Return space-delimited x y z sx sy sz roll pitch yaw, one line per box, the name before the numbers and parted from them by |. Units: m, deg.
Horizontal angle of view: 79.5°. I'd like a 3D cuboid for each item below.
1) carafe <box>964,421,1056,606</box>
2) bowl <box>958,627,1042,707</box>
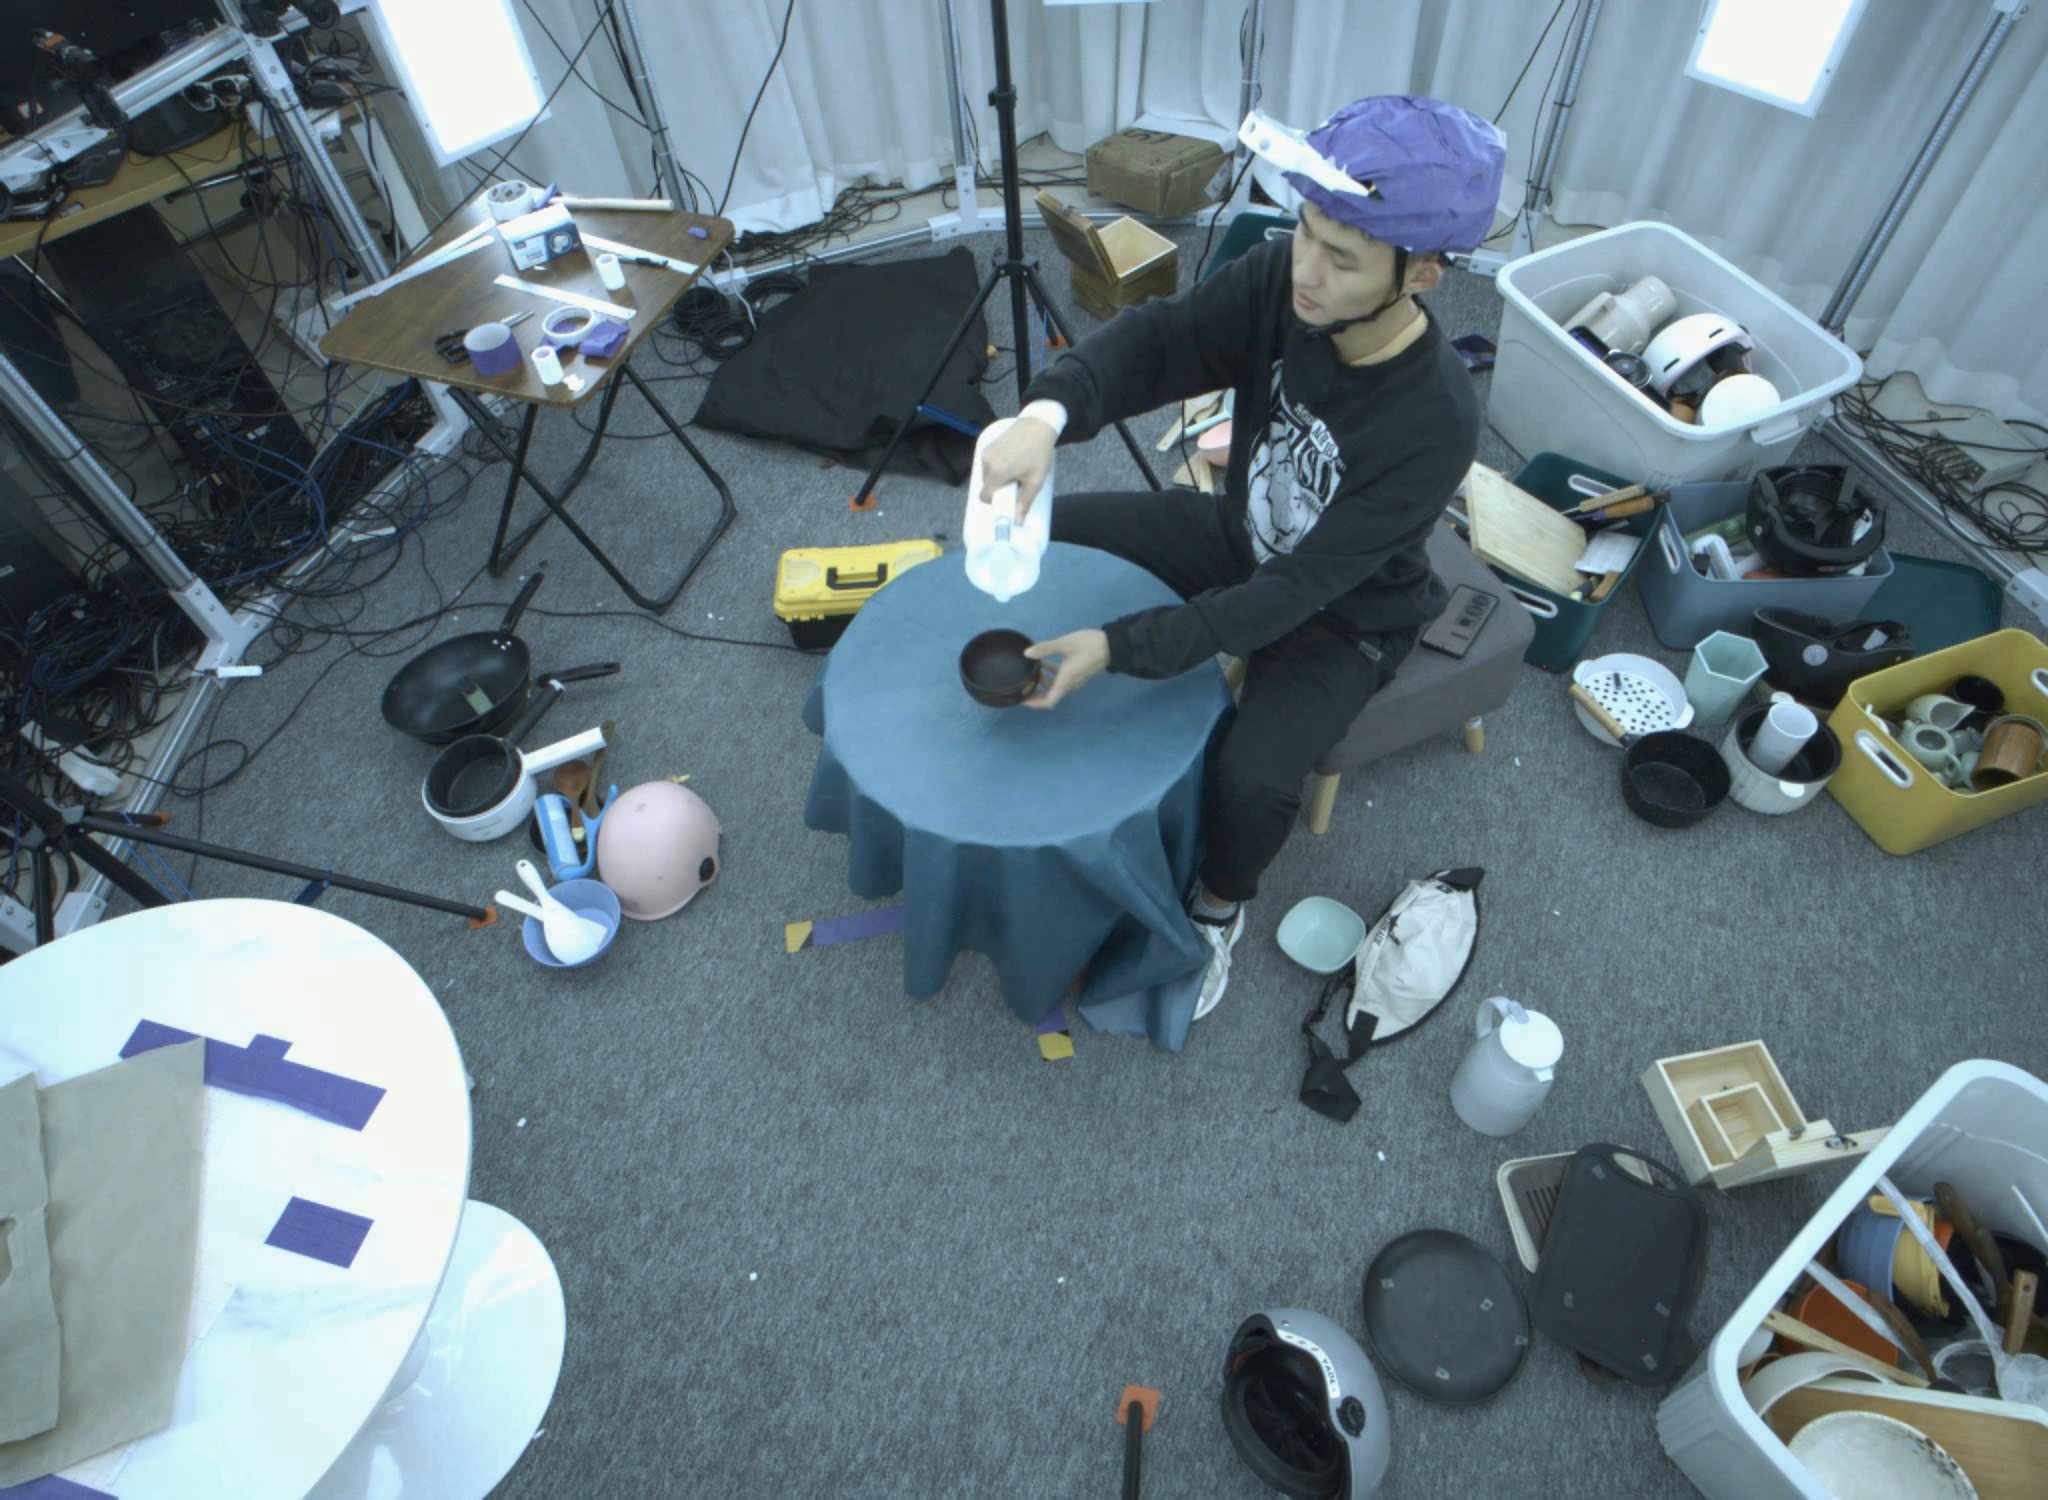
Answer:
carafe | -0.023 -0.349 1.681 0.123 0.174 0.266 4 50 4
bowl | -0.032 -0.110 1.751 0.118 0.071 0.117 -2 55 4
